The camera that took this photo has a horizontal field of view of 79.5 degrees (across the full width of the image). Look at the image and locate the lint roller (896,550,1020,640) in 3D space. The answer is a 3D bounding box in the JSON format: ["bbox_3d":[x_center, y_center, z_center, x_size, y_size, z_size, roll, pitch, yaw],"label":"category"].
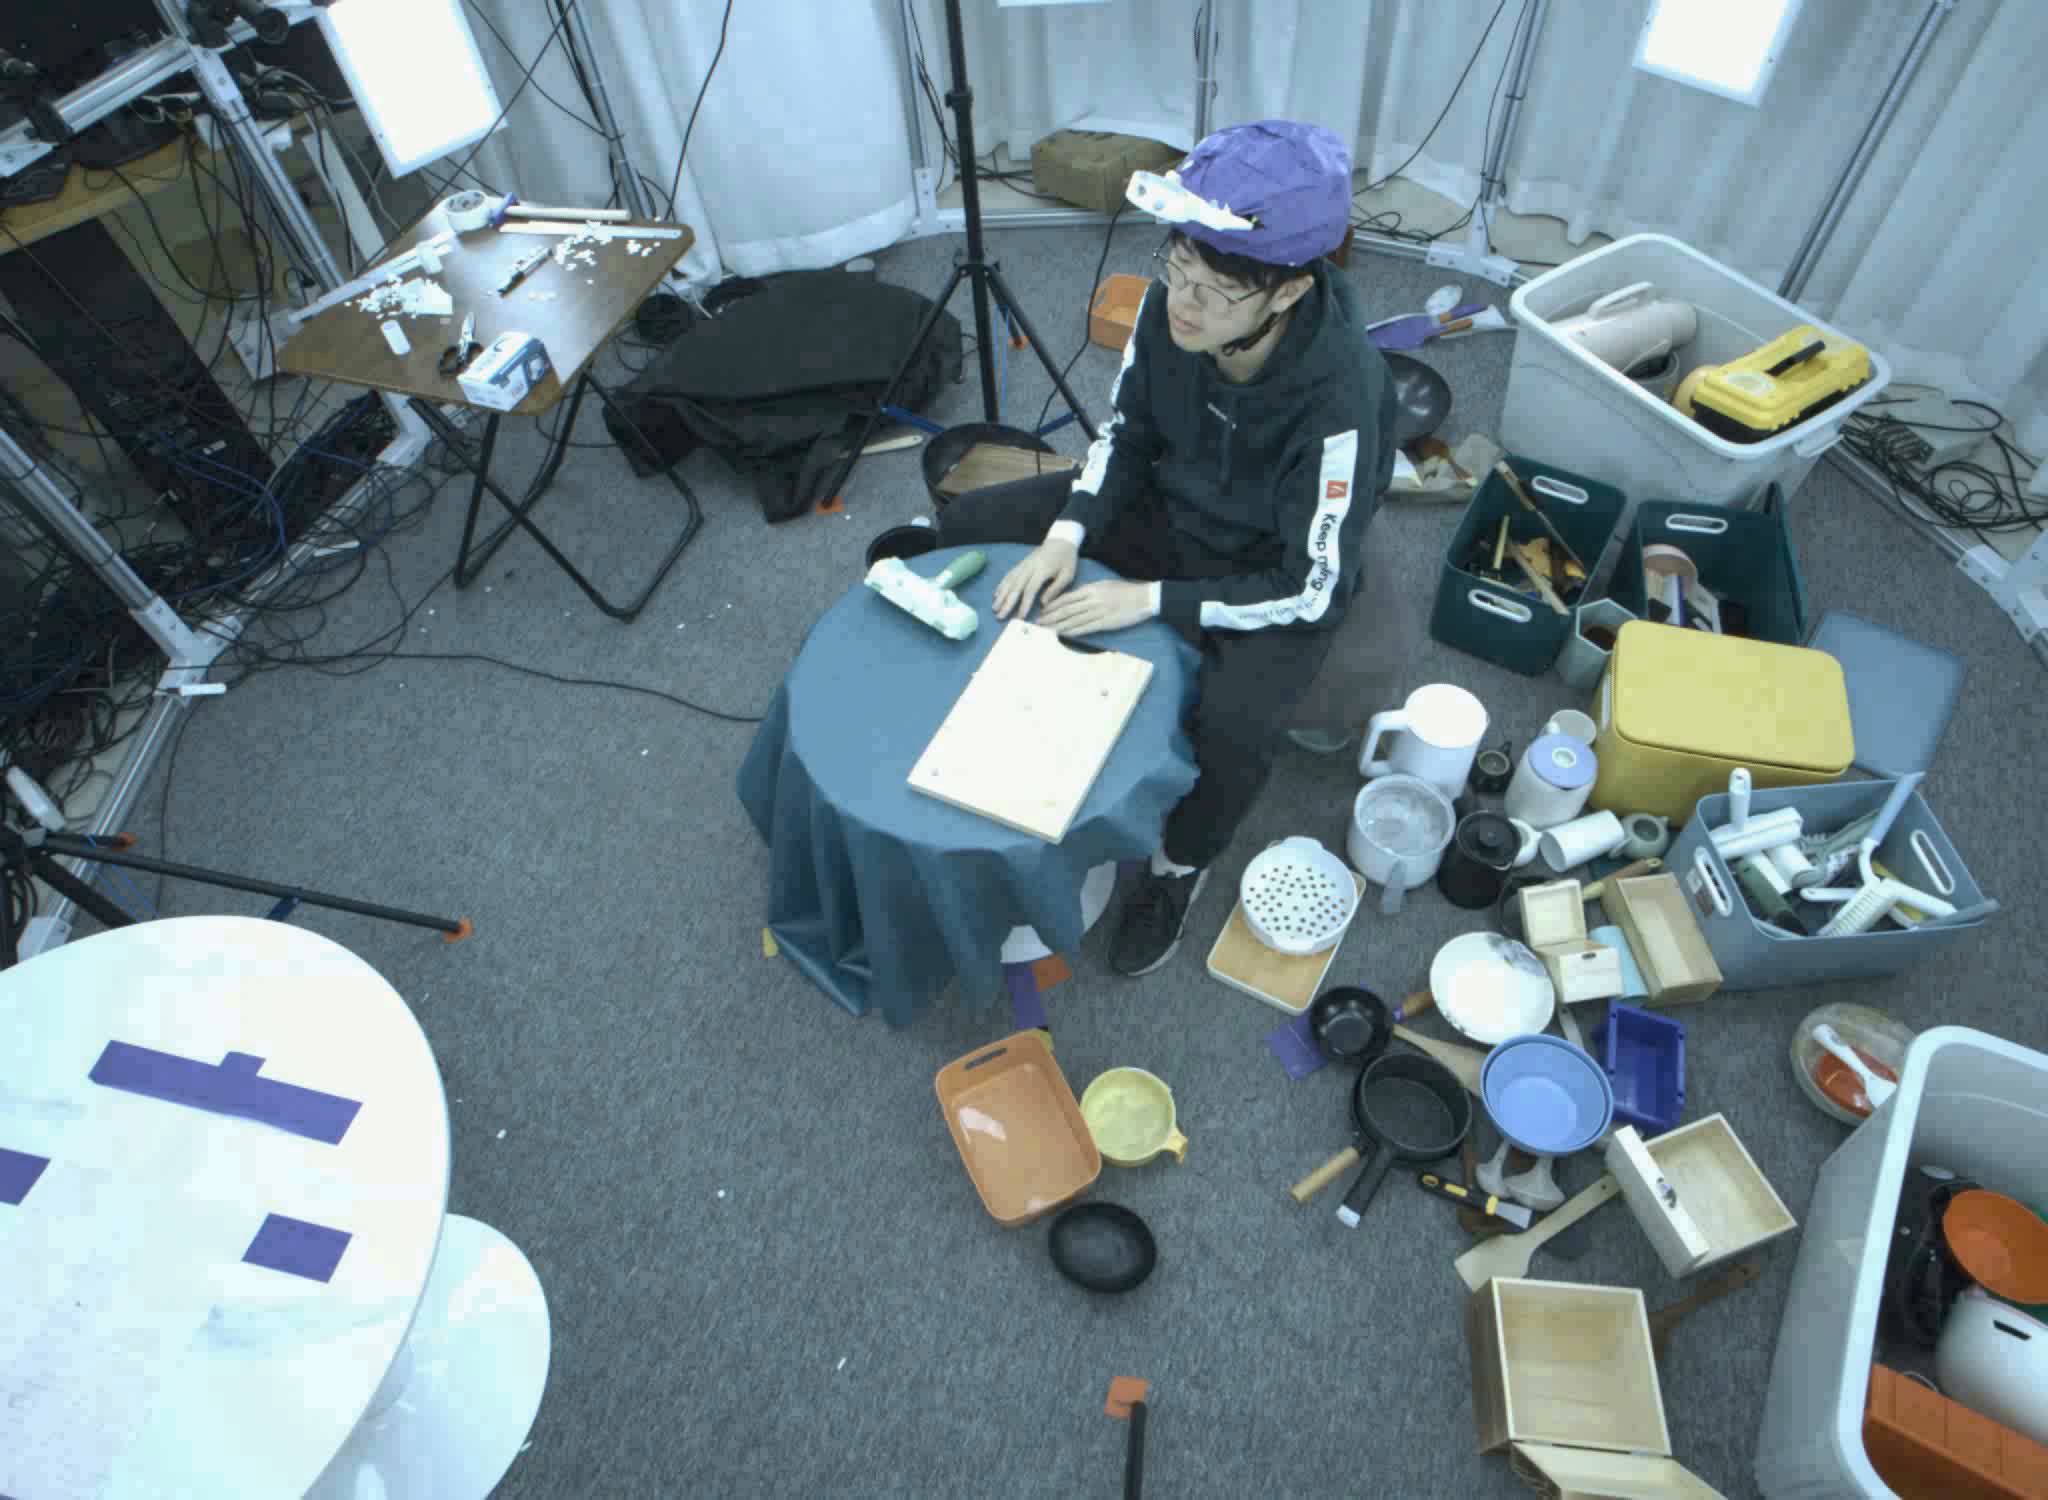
[{"bbox_3d":[-0.075,-0.278,1.936,0.195,0.083,0.184,35,67,24],"label":"lint roller"}]

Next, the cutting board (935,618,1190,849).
[{"bbox_3d":[0.059,-0.035,1.796,0.247,0.024,0.349,22,58,16],"label":"cutting board"}]
